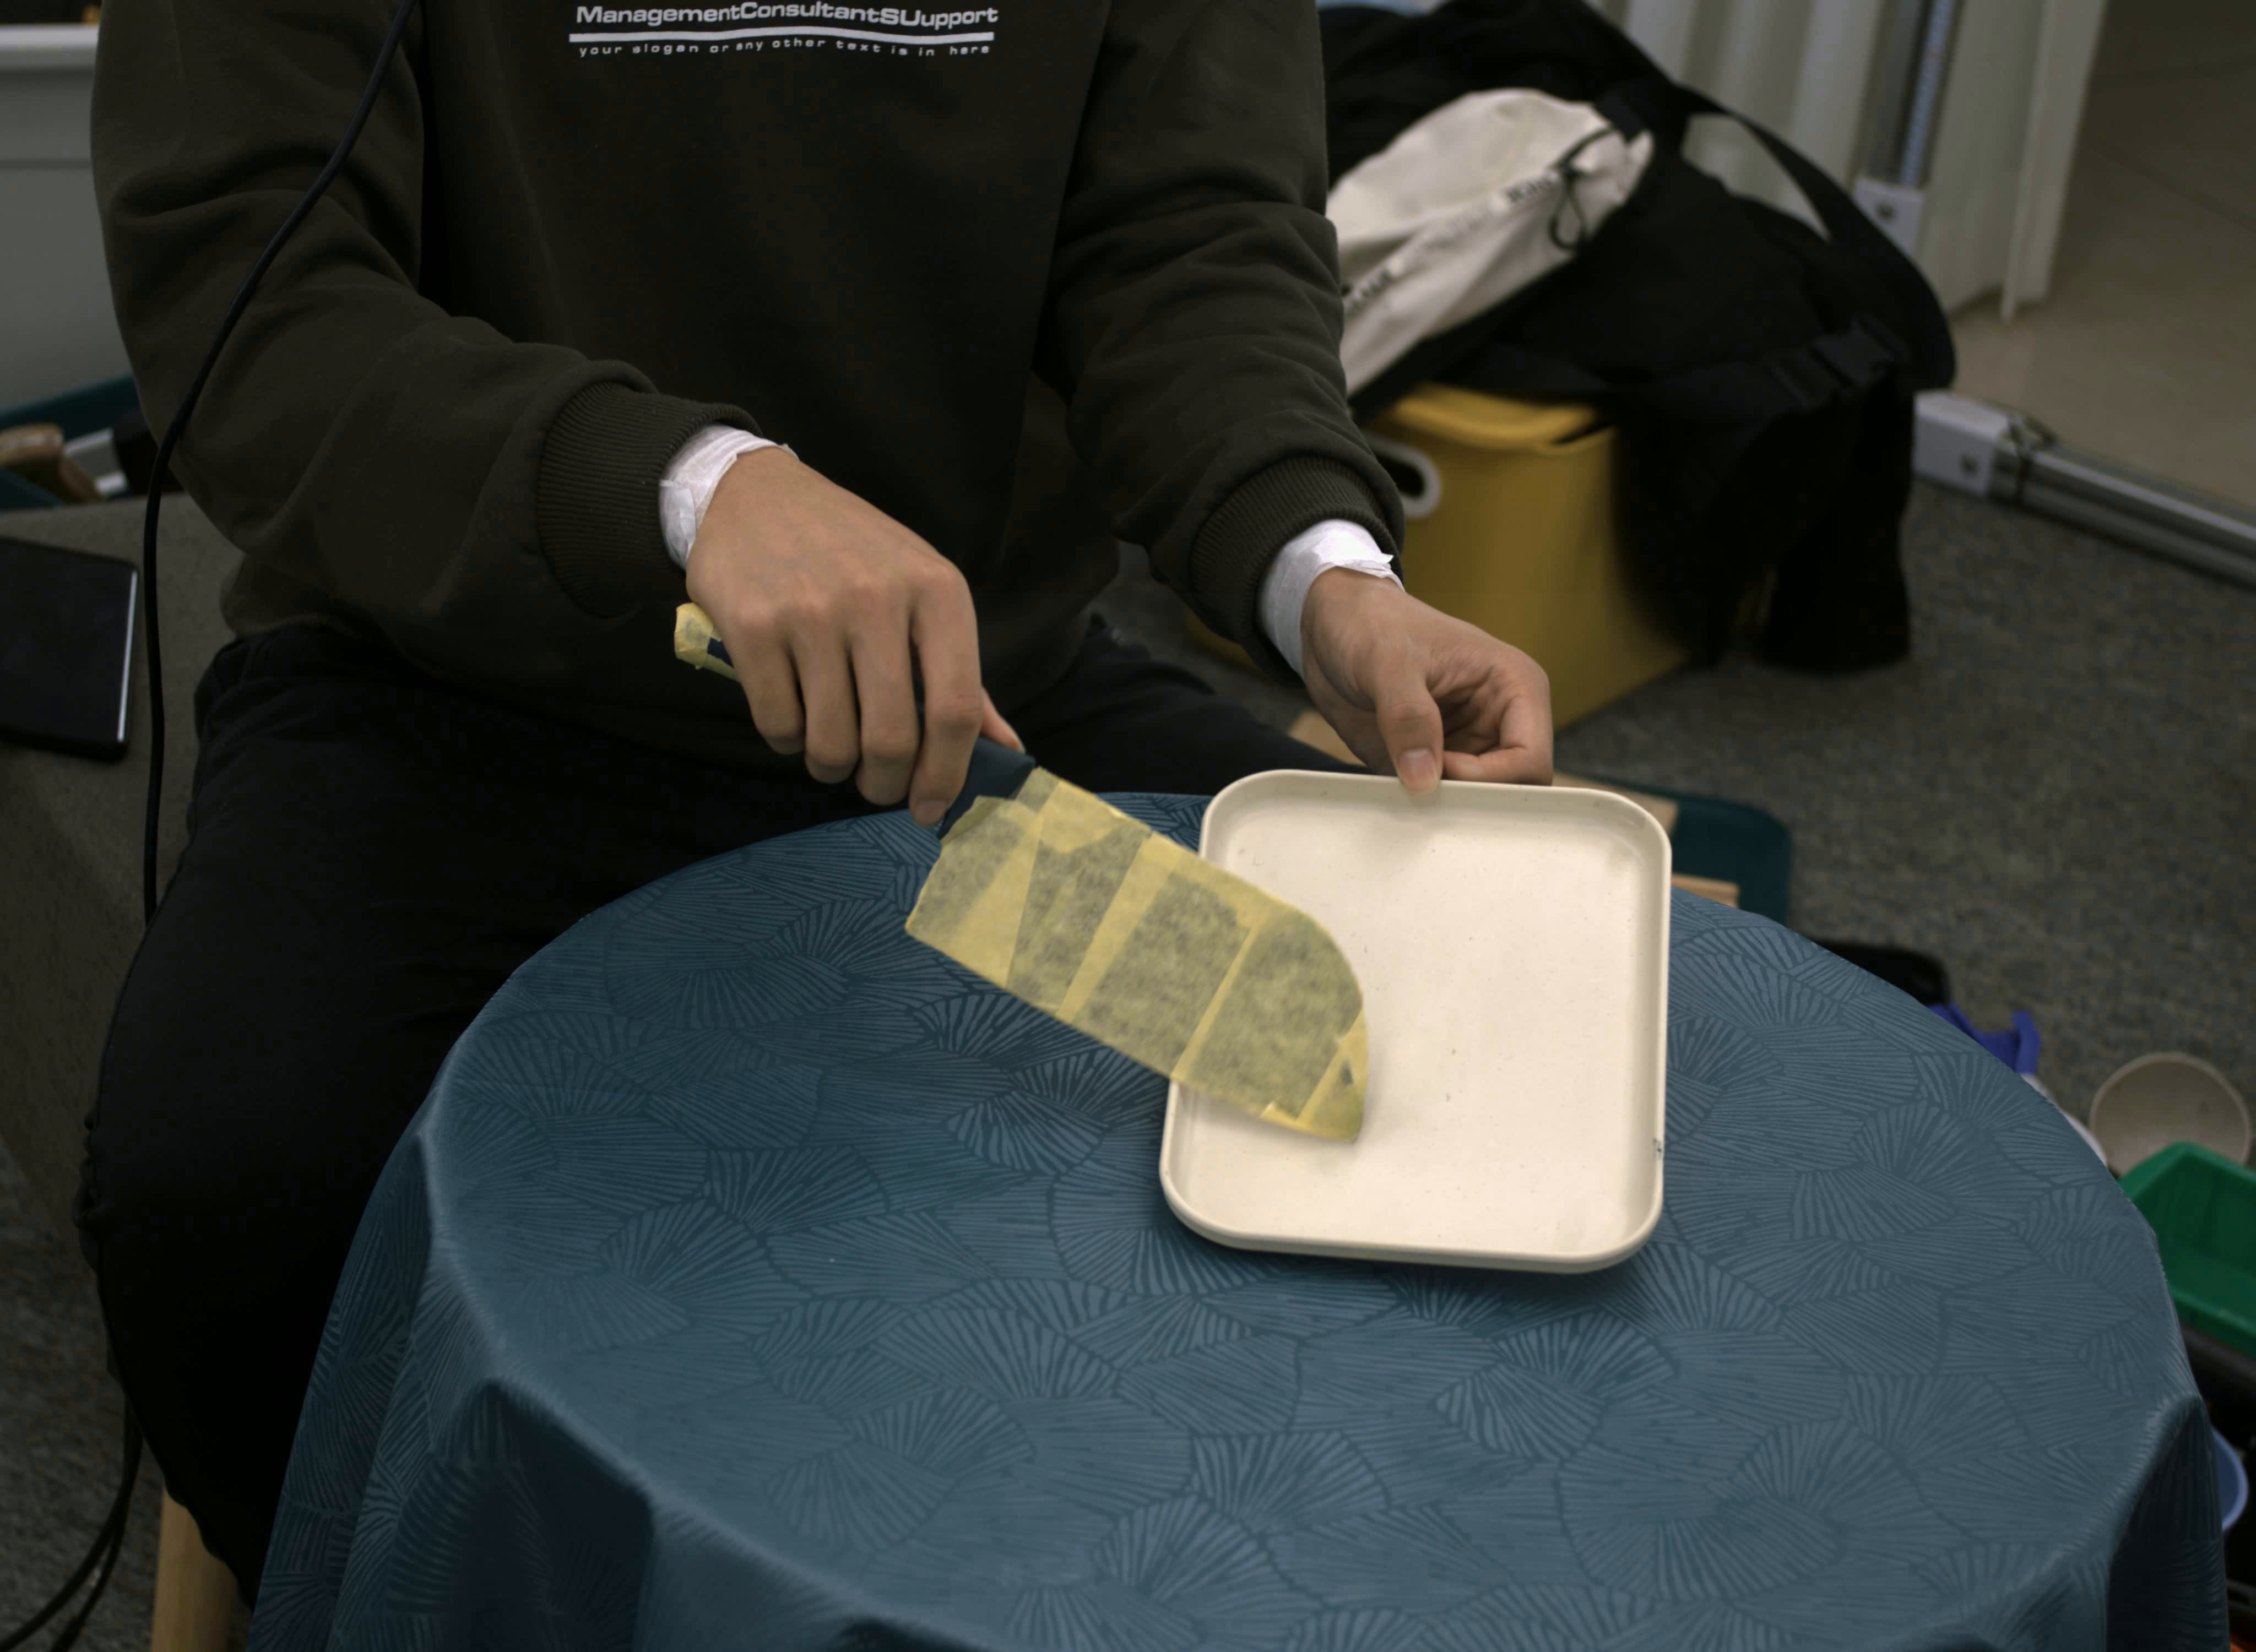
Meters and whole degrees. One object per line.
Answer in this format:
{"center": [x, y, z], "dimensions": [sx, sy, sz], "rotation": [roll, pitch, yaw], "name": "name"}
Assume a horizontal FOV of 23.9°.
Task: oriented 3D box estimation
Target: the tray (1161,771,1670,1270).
{"center": [0.103, 0.067, 1.855], "dimensions": [0.171, 0.017, 0.241], "rotation": [3, 41, 5], "name": "tray"}

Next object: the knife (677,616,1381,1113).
{"center": [-0.038, 0.013, 1.833], "dimensions": [0.290, 0.081, 0.027], "rotation": [31, -2, 8], "name": "knife"}
